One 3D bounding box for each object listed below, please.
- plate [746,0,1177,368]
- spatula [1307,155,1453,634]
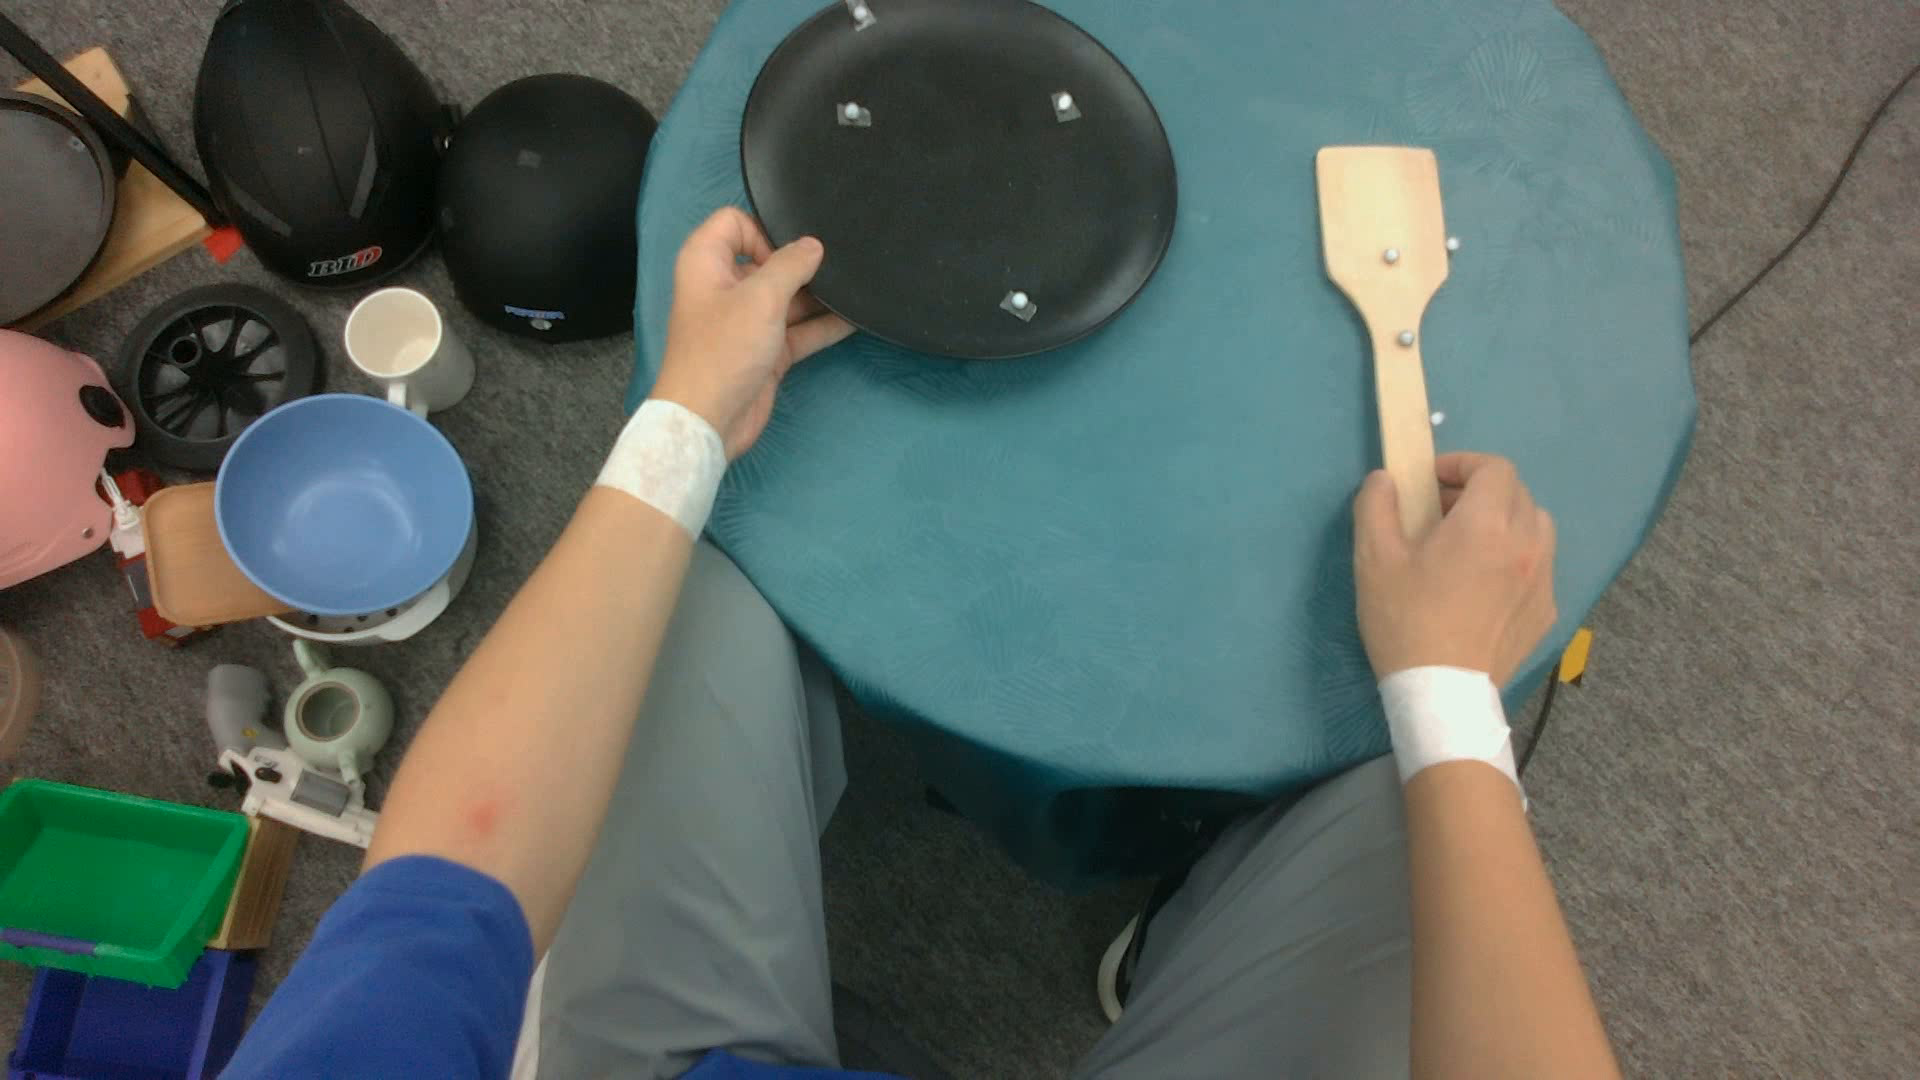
[{"bbox_3d":[0.002,-0.203,0.777,0.244,0.023,0.245,3,69,-9],"label":"plate"},{"bbox_3d":[0.243,-0.089,0.768,0.072,0.010,0.294,0,70,-2],"label":"spatula"}]
